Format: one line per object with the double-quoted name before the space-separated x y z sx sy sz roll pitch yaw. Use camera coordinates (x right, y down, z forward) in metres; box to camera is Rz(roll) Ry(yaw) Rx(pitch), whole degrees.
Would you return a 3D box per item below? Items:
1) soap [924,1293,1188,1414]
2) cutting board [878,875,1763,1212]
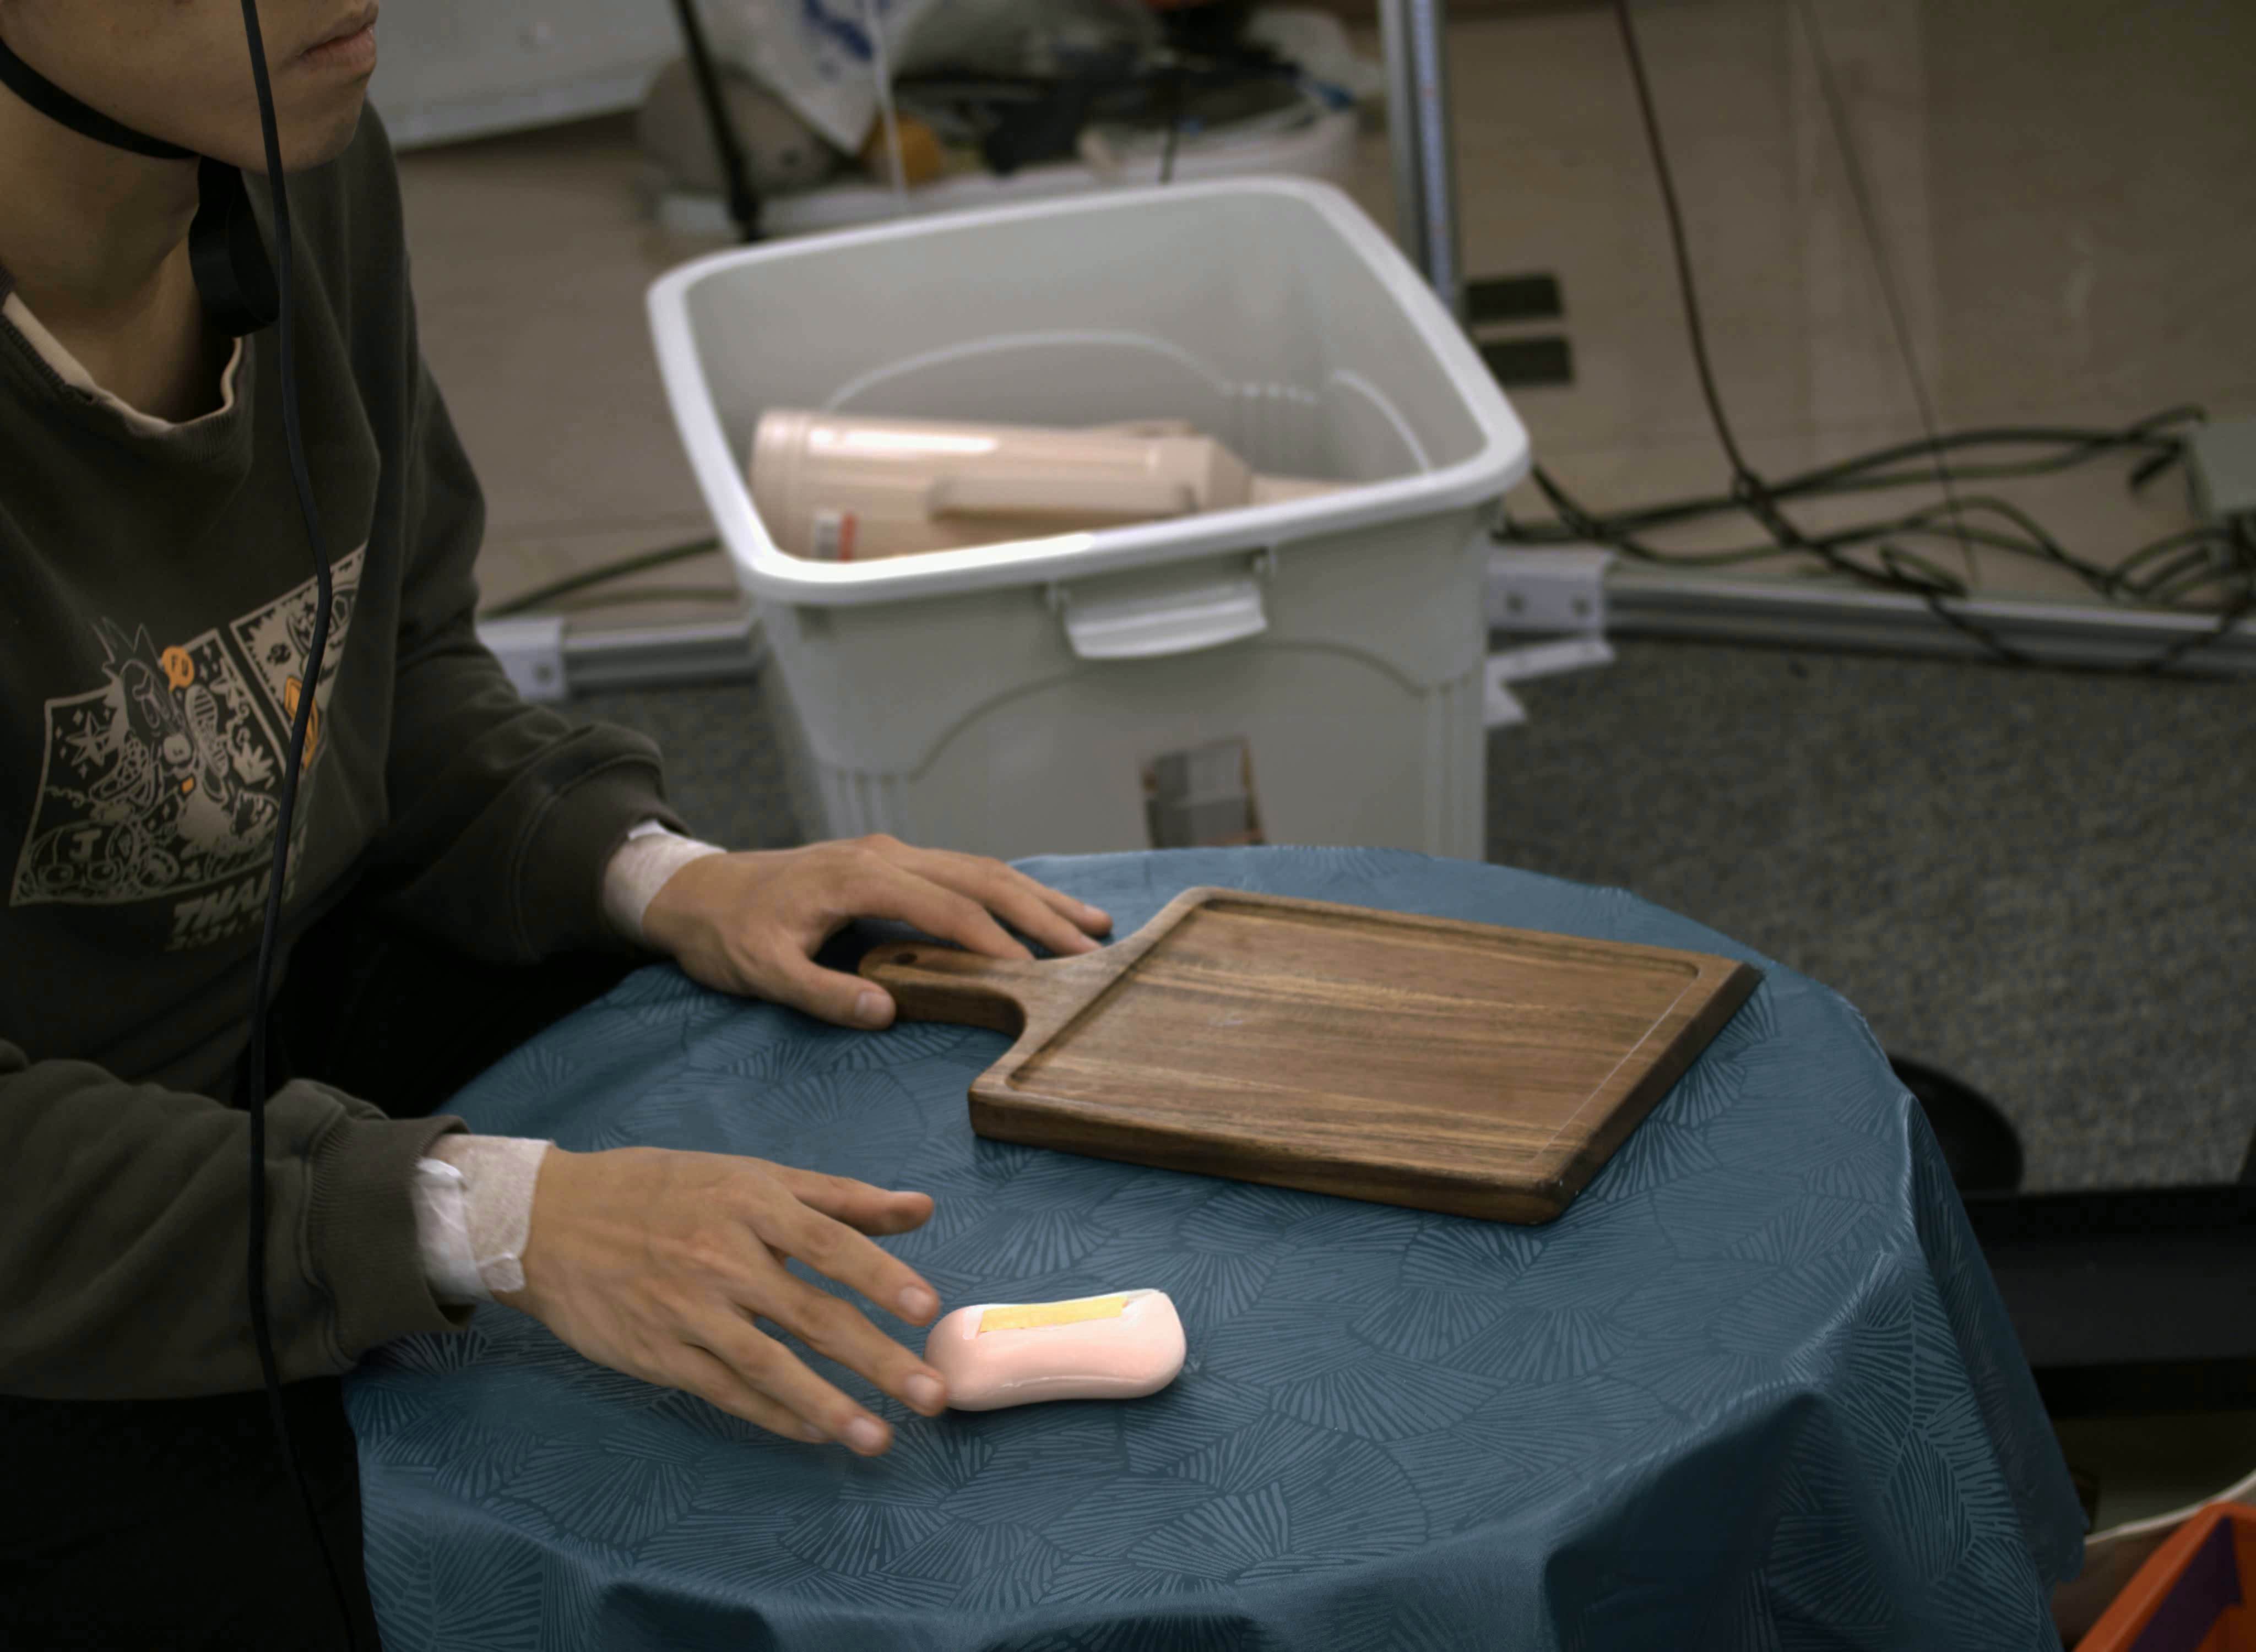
"soap" -0.025 0.188 2.016 0.094 0.031 0.049 -6 24 4
"cutting board" 0.055 0.075 2.244 0.350 0.023 0.198 8 29 29
